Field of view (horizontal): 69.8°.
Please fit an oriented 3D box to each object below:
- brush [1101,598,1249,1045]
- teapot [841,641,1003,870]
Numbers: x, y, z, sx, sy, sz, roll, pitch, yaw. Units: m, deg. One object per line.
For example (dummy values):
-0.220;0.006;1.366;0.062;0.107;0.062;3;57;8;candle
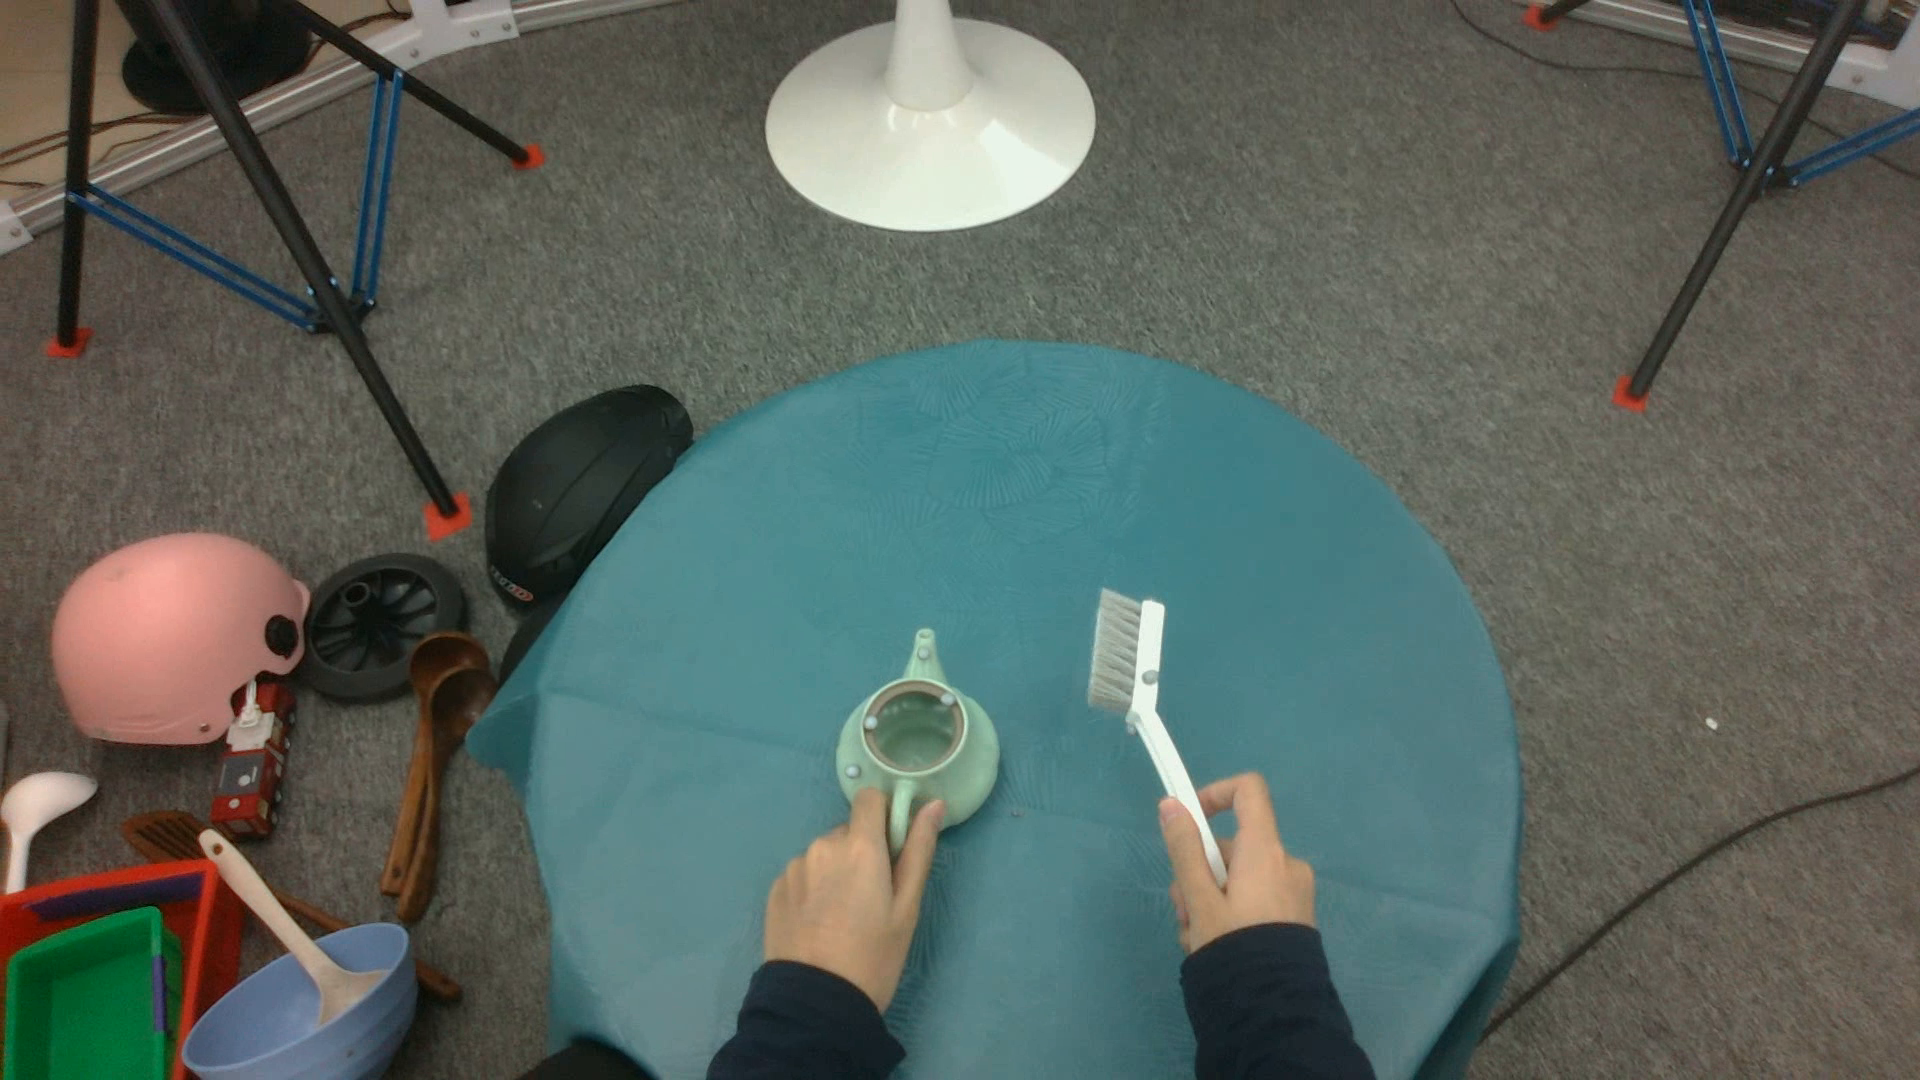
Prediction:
0.111;0.144;0.740;0.050;0.034;0.244;6;58;-19;brush
-0.023;0.131;0.807;0.096;0.061;0.137;4;53;2;teapot
